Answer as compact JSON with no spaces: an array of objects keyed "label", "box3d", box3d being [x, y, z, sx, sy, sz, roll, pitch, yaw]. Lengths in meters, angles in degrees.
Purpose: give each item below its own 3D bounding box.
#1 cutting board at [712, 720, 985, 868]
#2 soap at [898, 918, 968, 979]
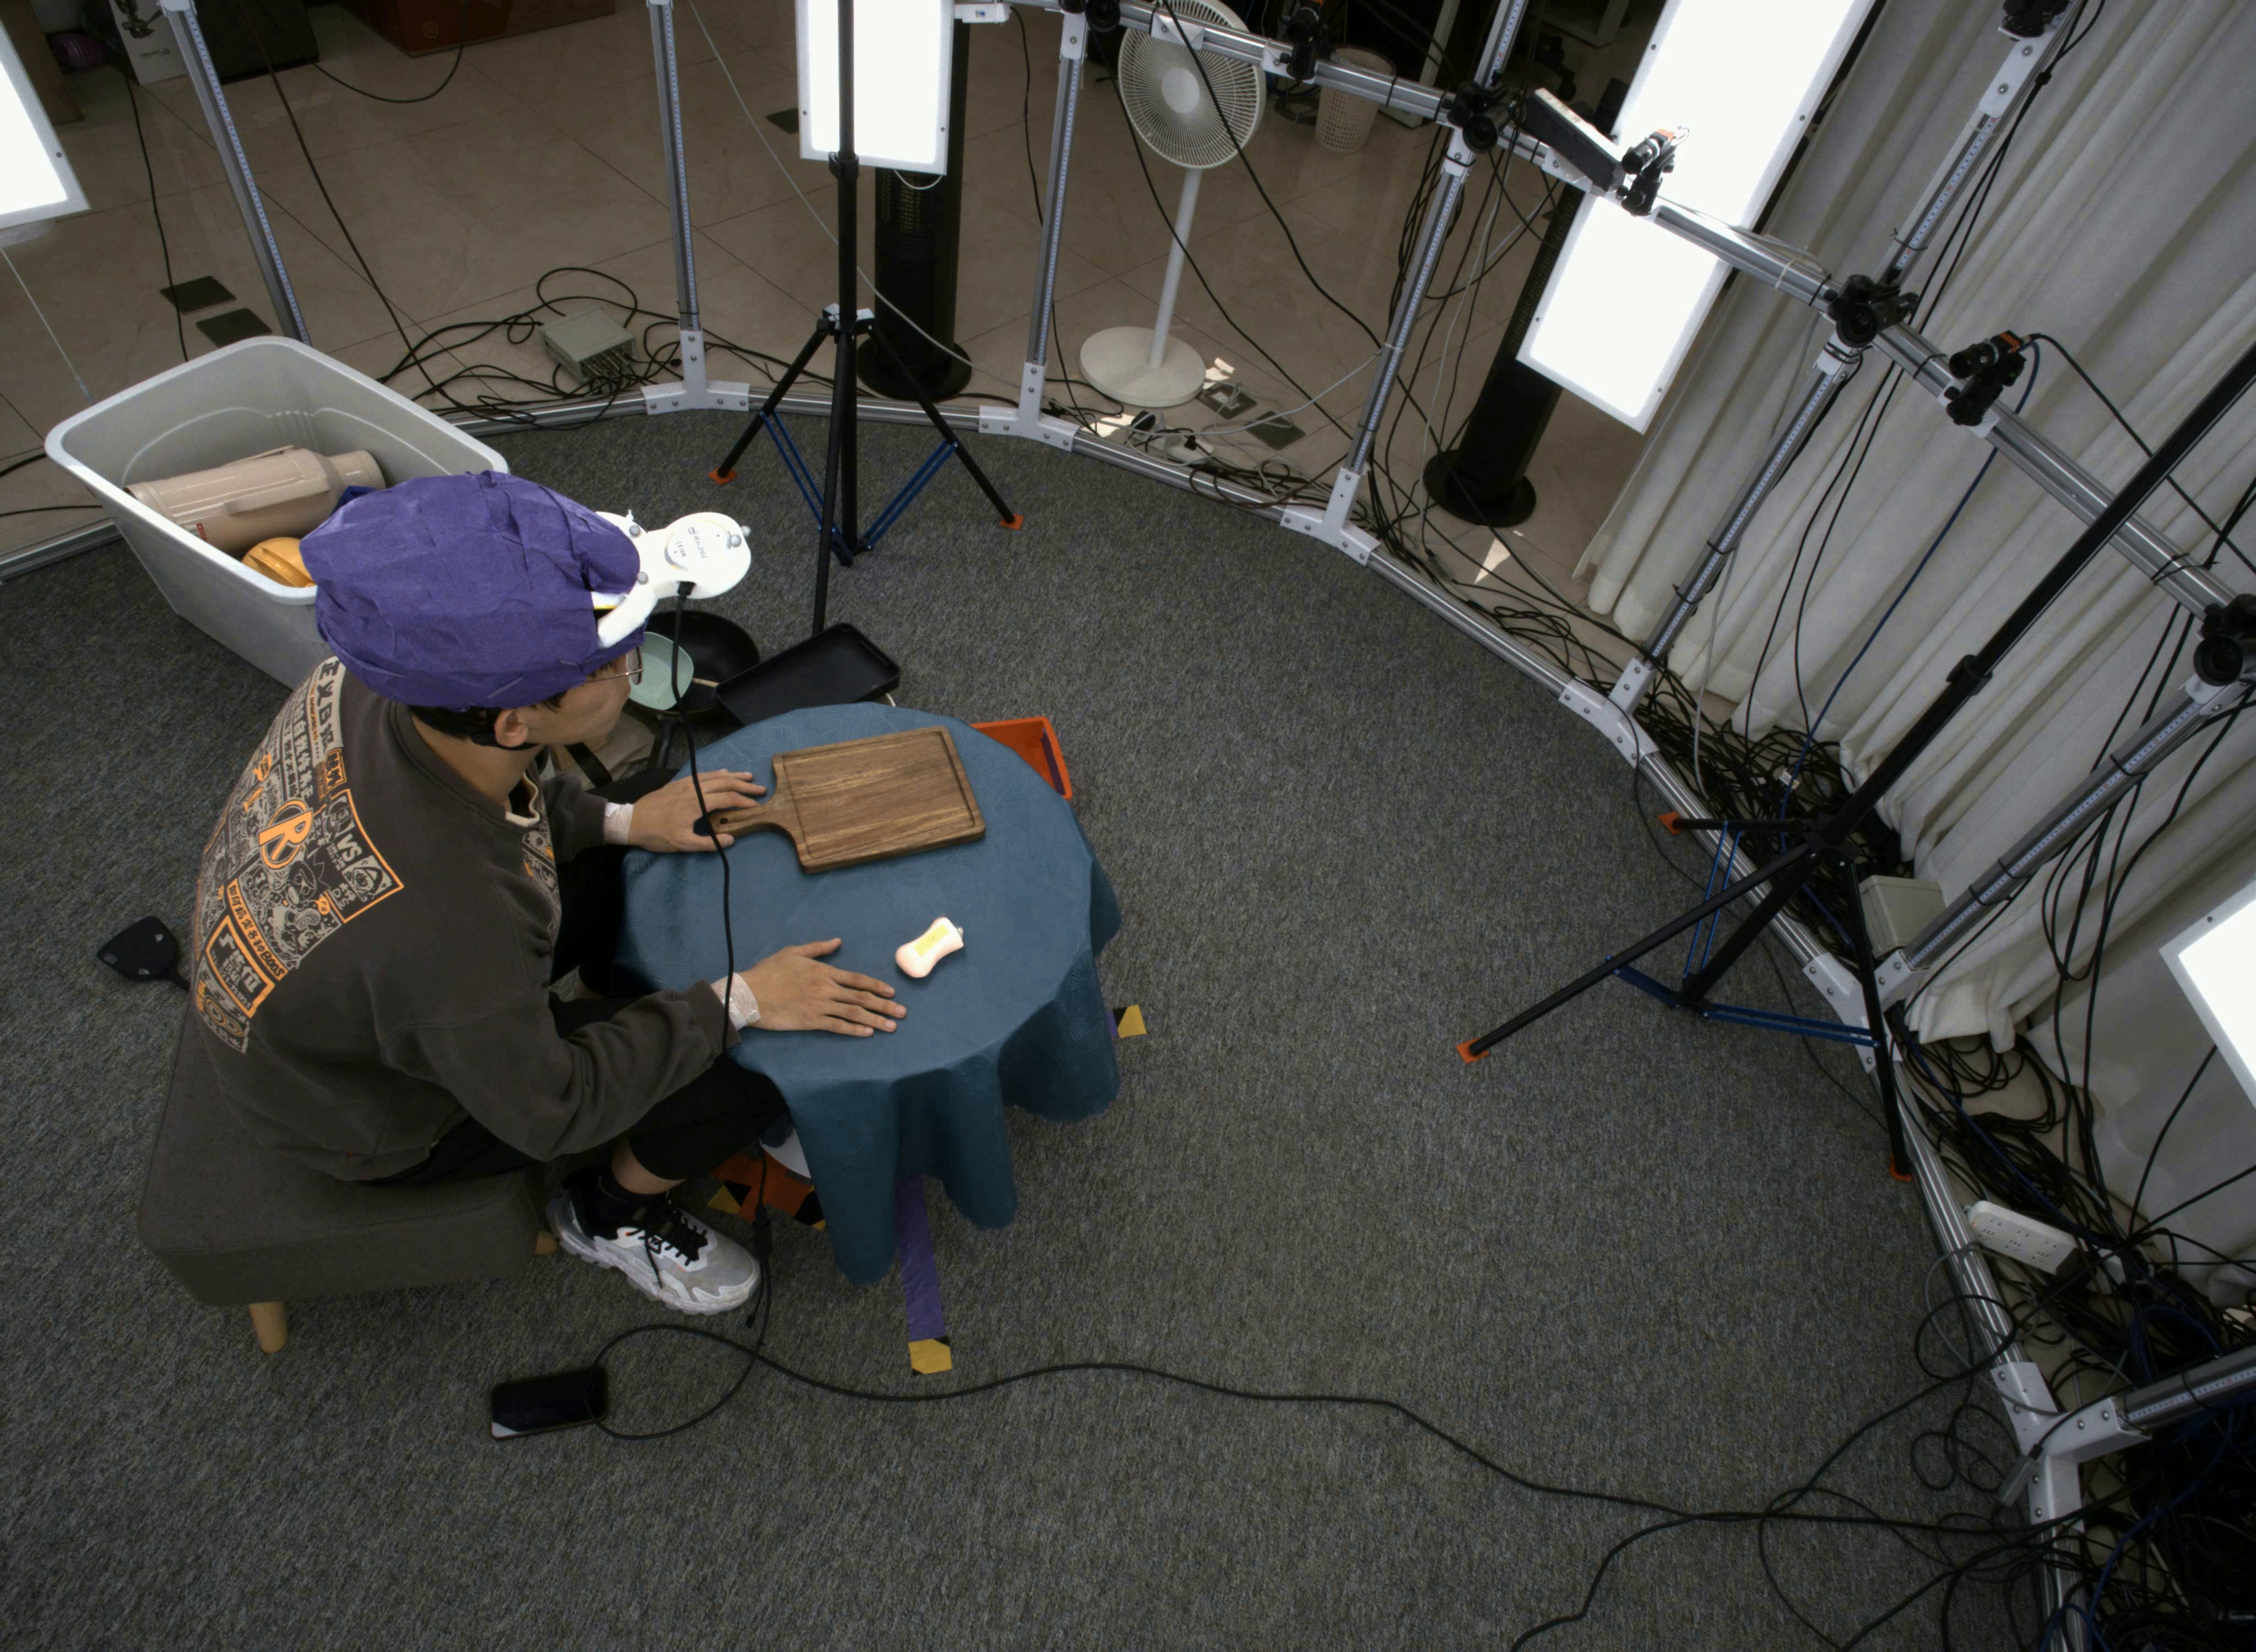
[{"label":"cutting board","box3d":[-0.386,-0.040,1.764,0.353,0.023,0.196,-11,58,-21]},{"label":"soap","box3d":[-0.247,0.153,1.652,0.049,0.031,0.094,40,57,18]}]
